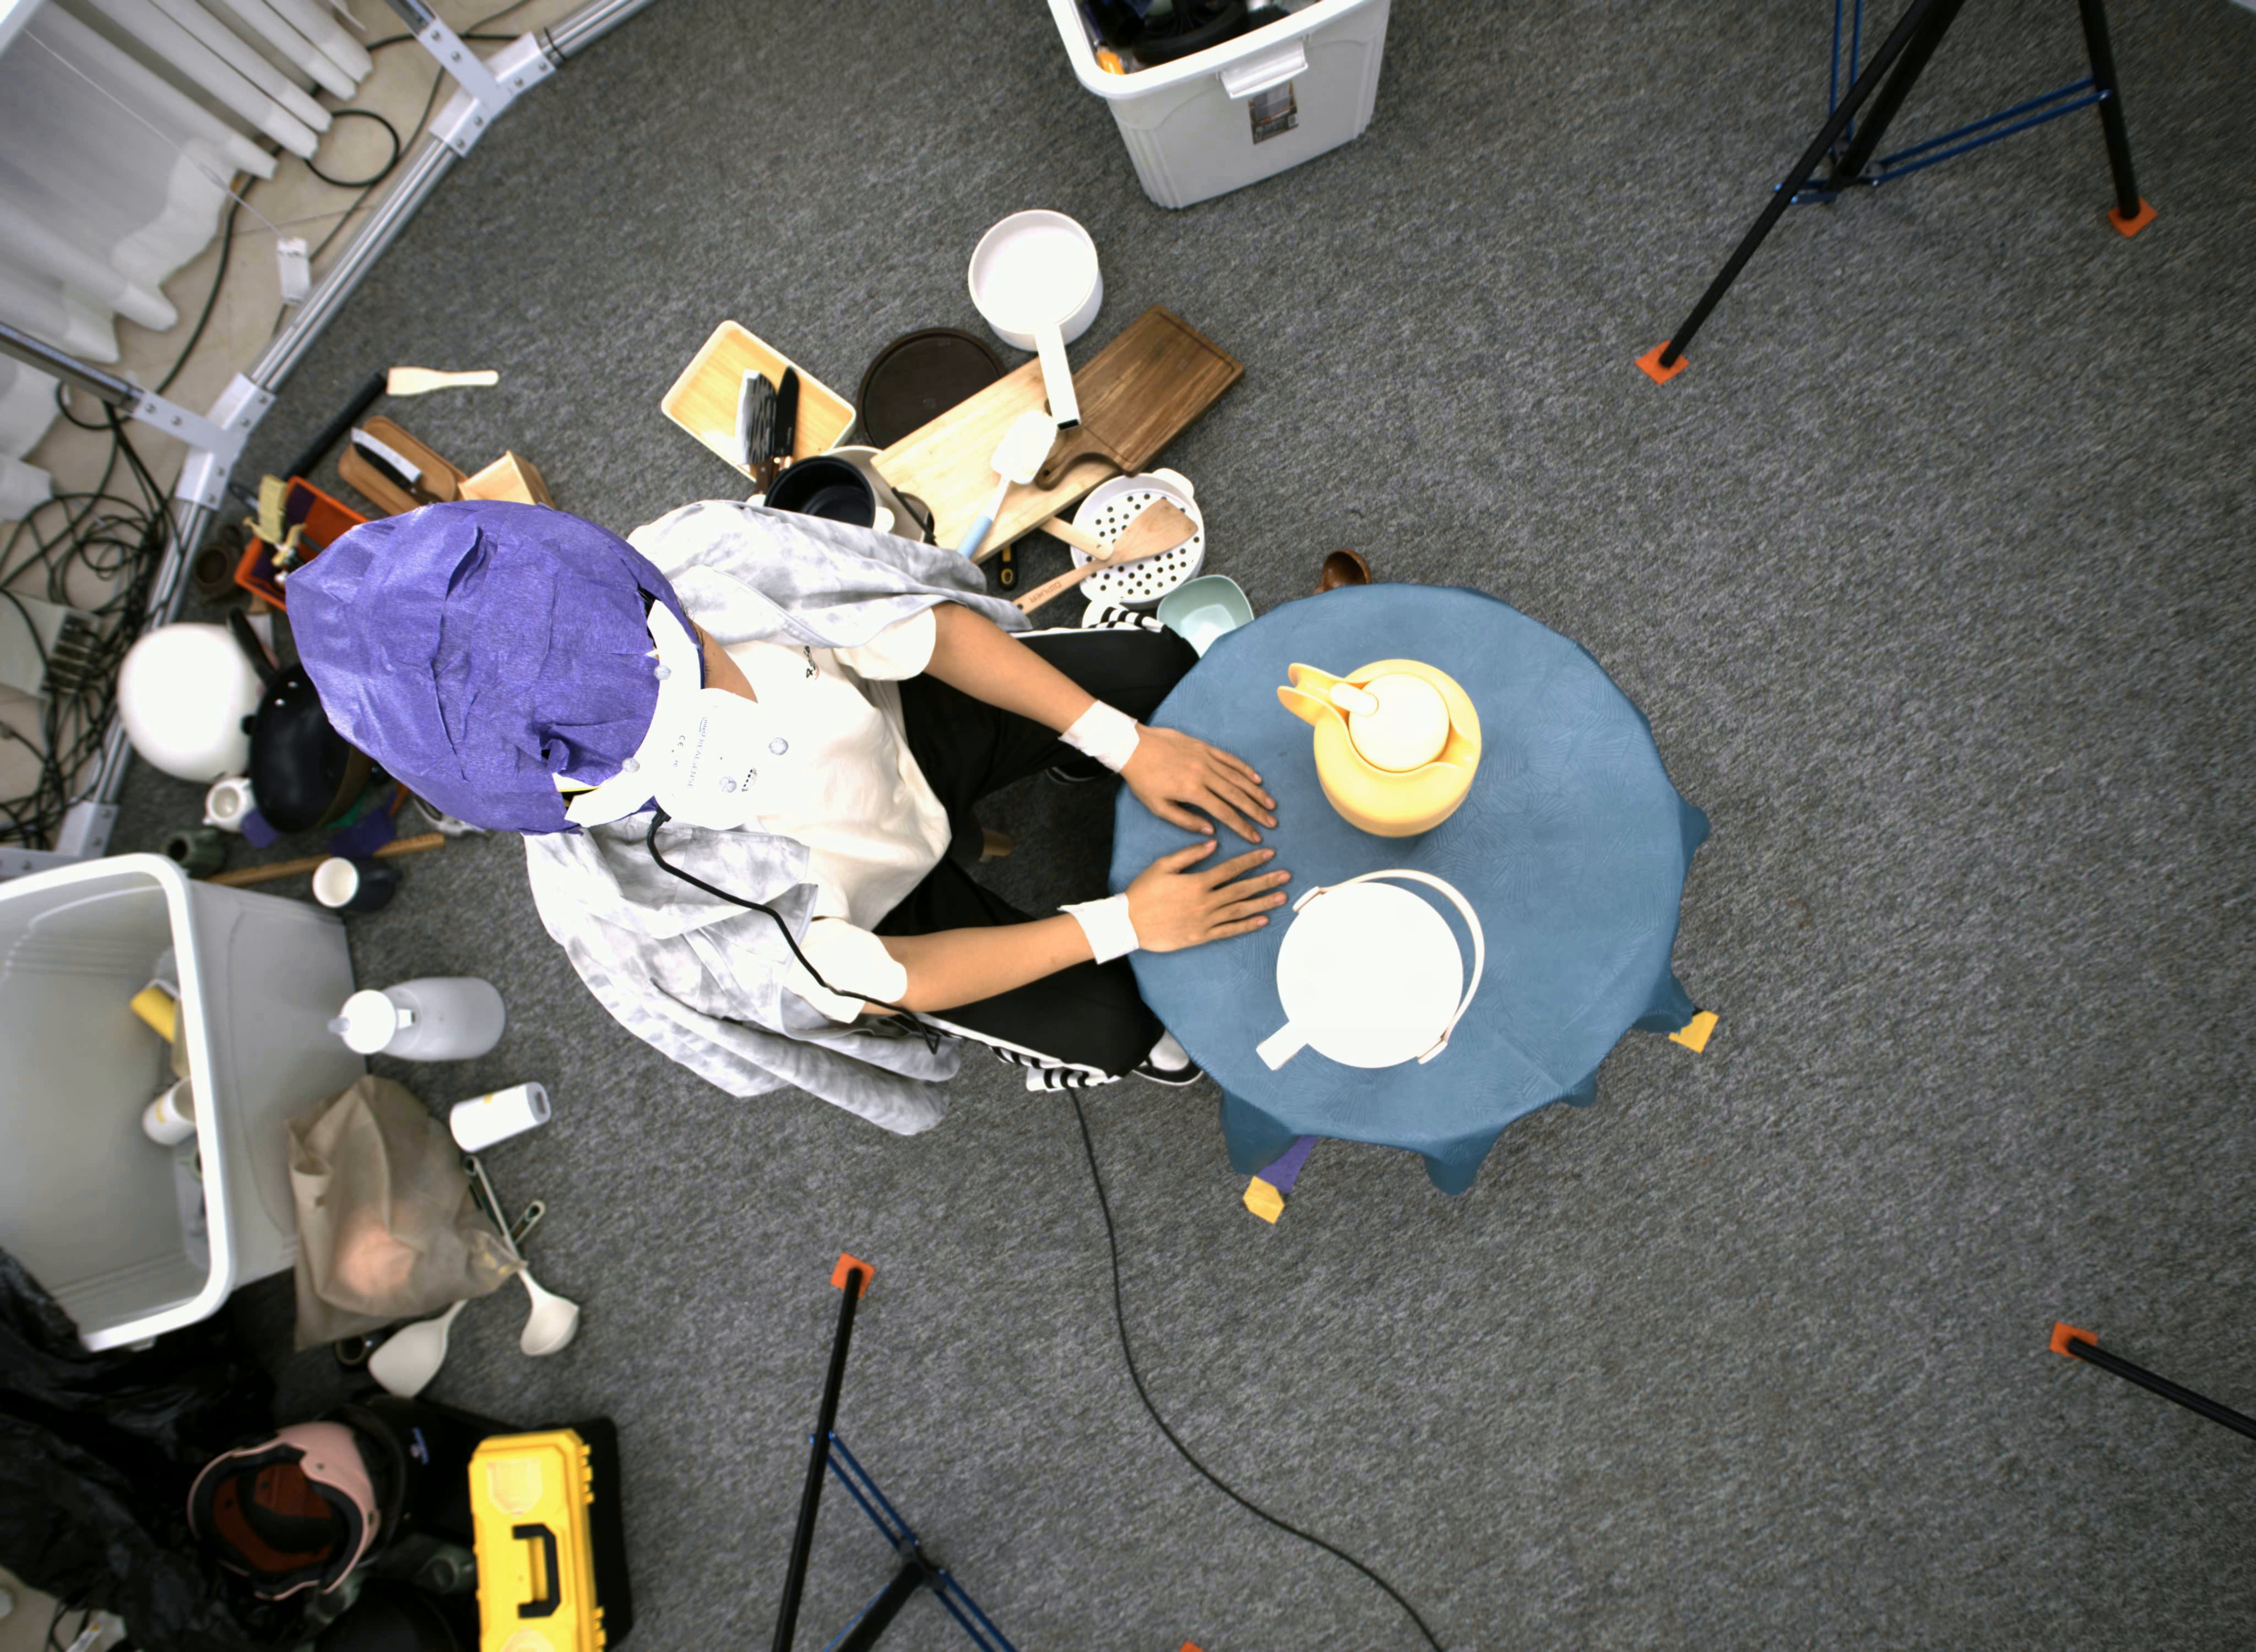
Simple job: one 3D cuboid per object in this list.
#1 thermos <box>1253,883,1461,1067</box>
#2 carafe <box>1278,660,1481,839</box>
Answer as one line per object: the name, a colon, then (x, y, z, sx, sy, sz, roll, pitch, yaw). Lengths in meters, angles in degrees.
thermos: (0.207, 0.143, 1.264, 0.208, 0.407, 0.174, -39, 80, 4)
carafe: (0.243, -0.090, 1.339, 0.202, 0.261, 0.163, 29, 88, 10)
